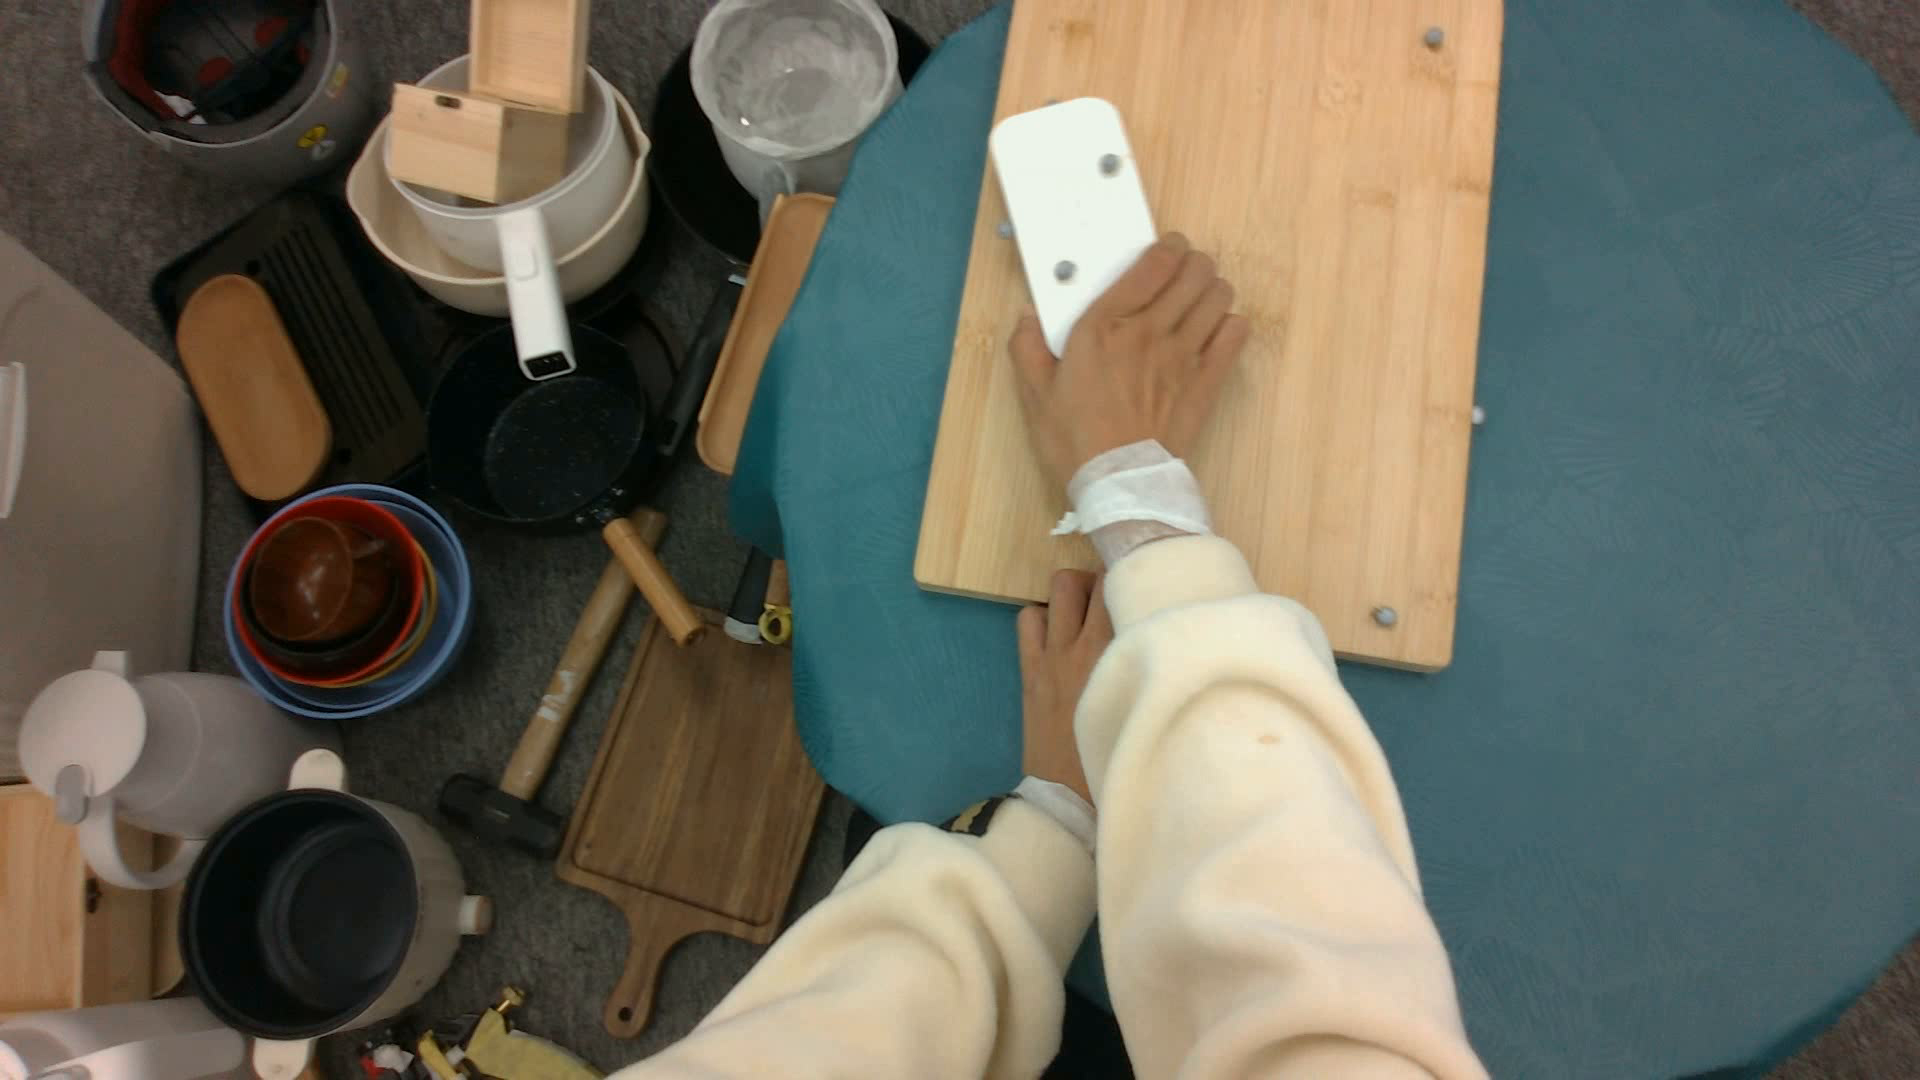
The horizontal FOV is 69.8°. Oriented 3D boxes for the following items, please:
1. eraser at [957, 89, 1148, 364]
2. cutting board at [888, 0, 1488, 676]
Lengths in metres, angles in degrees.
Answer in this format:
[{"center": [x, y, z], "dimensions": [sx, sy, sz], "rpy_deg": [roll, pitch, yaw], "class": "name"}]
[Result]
[{"center": [0.041, -0.148, 0.645], "dimensions": [0.063, 0.034, 0.131], "rpy_deg": [-15, 74, -2], "class": "eraser"}, {"center": [0.116, -0.123, 0.663], "dimensions": [0.250, 0.023, 0.349], "rpy_deg": [8, 75, 4], "class": "cutting board"}]
